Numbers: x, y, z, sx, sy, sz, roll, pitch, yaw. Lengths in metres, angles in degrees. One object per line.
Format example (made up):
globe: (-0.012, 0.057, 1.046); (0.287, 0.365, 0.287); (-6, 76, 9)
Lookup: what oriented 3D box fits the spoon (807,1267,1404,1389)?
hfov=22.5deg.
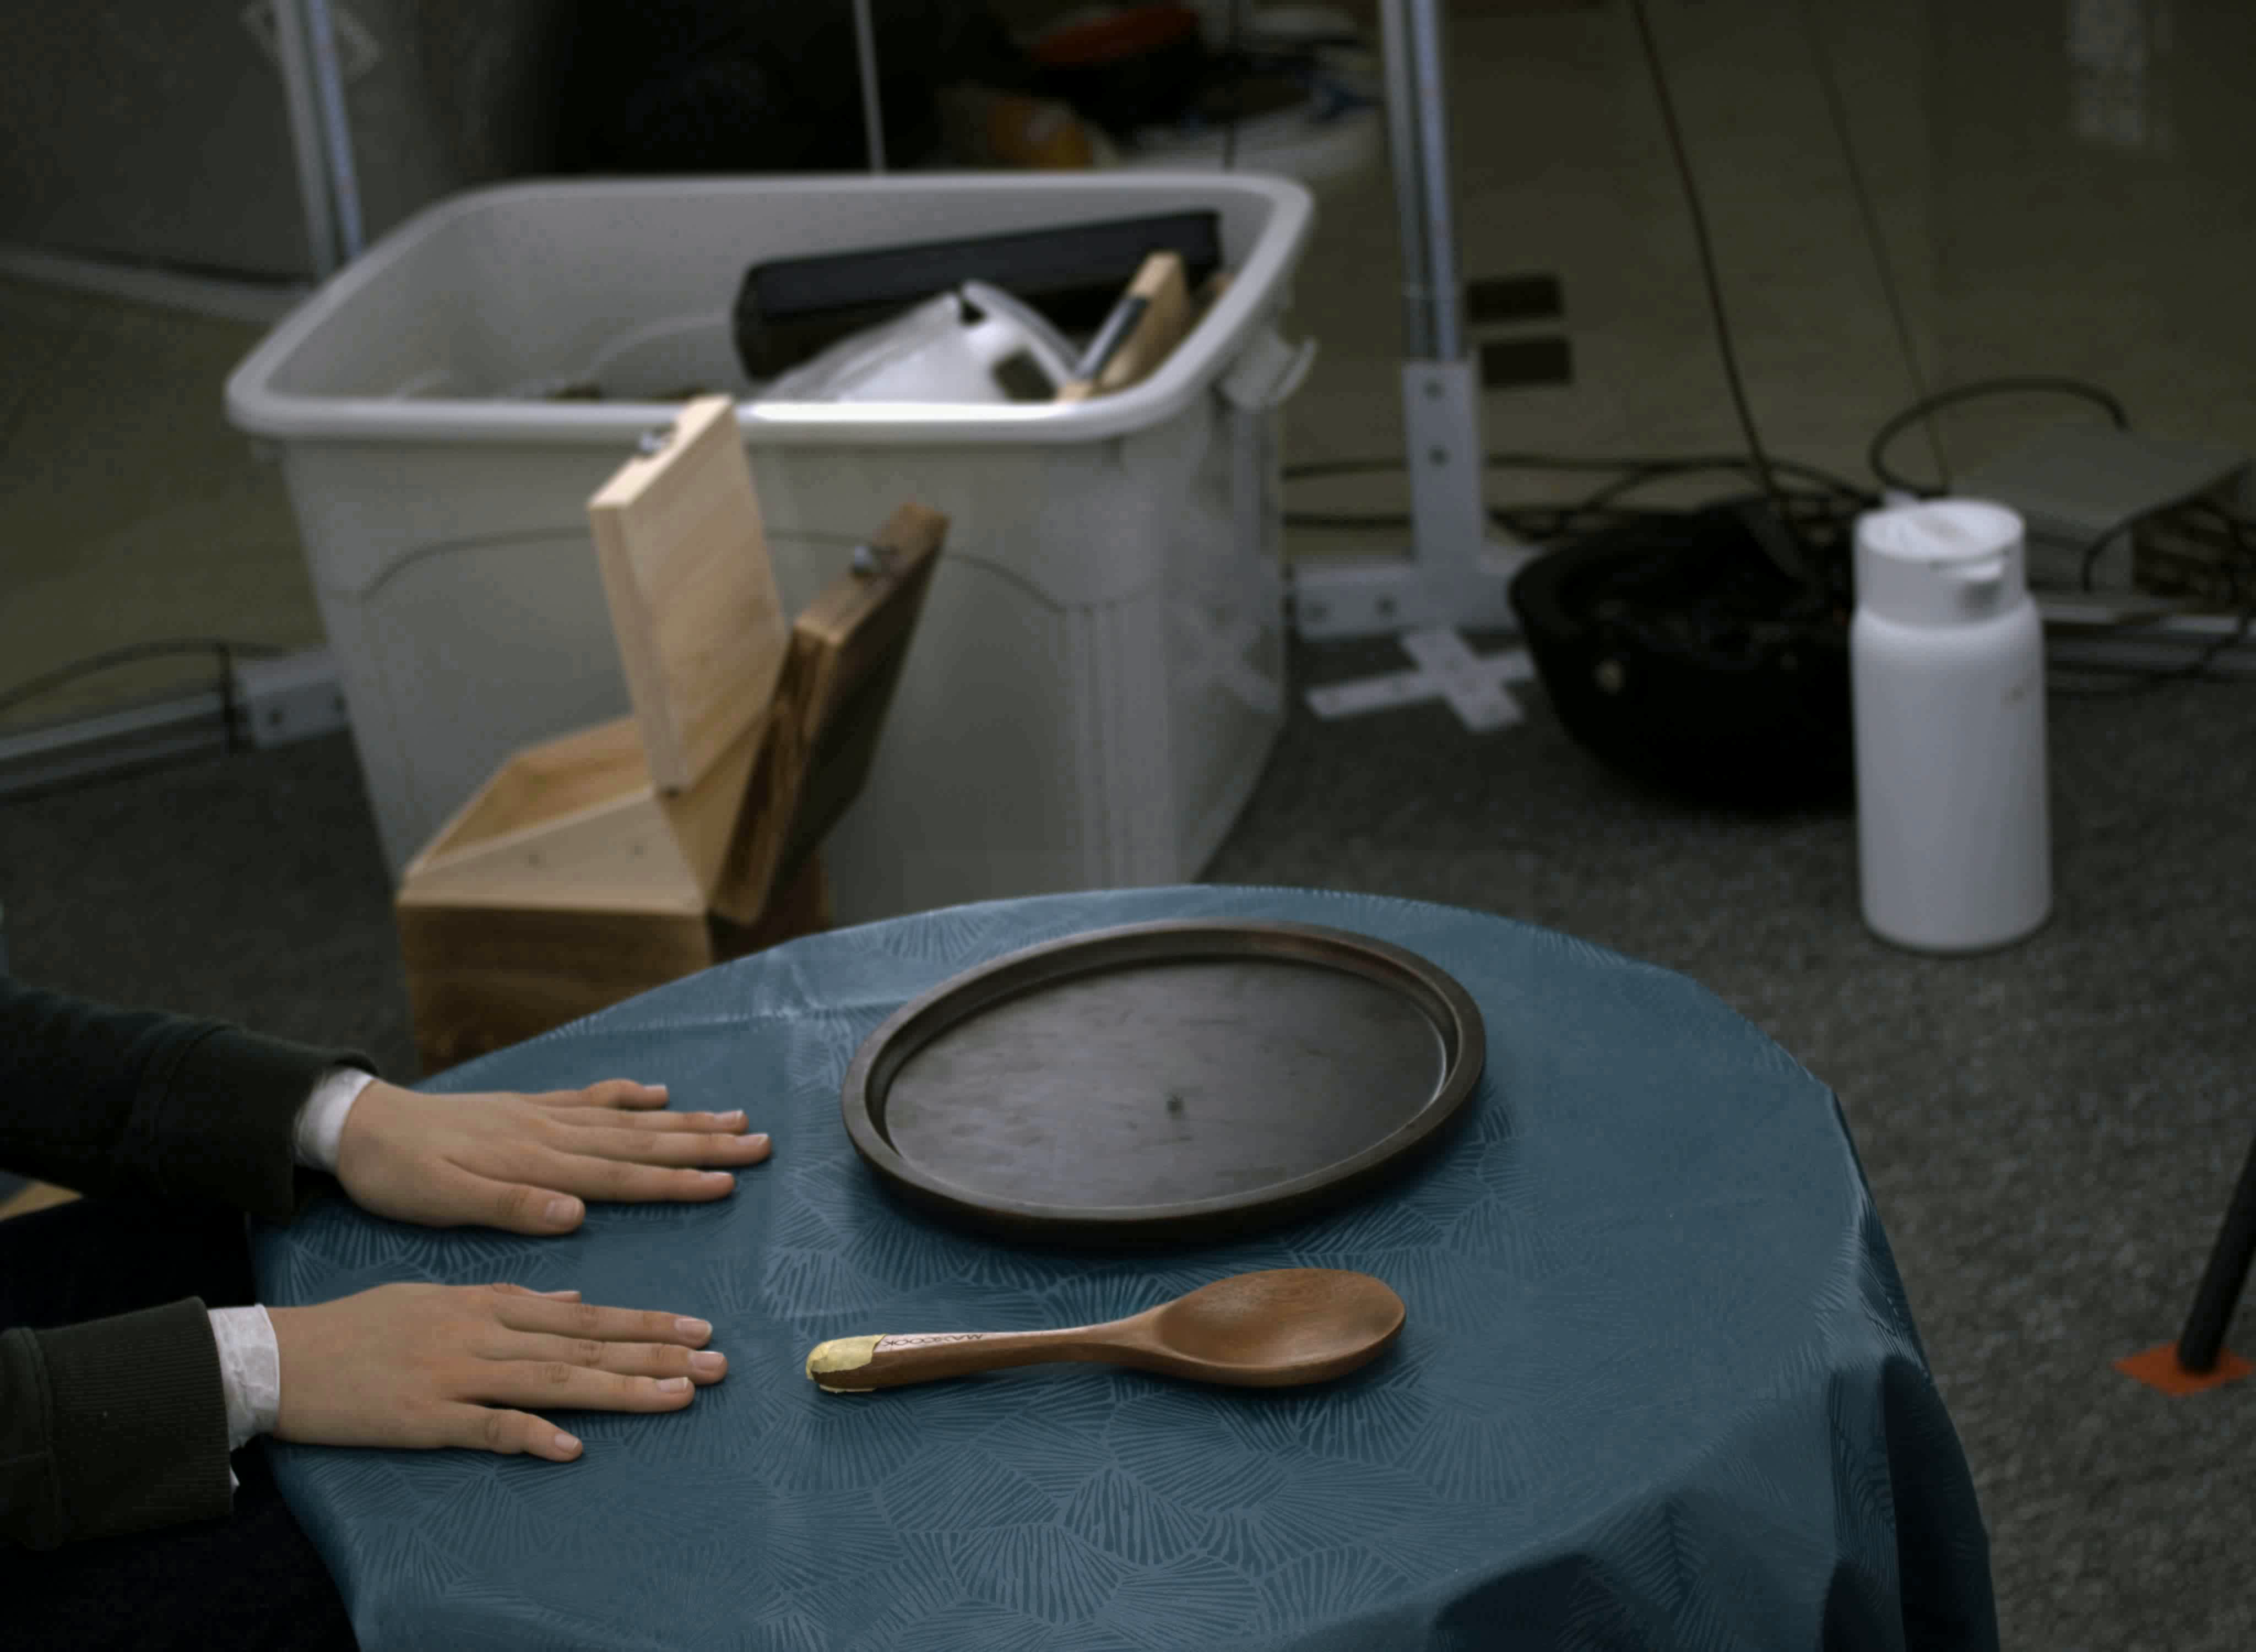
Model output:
spoon: (-0.008, 0.186, 2.033); (0.215, 0.017, 0.074); (-4, 25, 5)

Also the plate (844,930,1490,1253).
plate: (0.015, 0.101, 2.204); (0.254, 0.029, 0.251); (-5, 24, 2)
